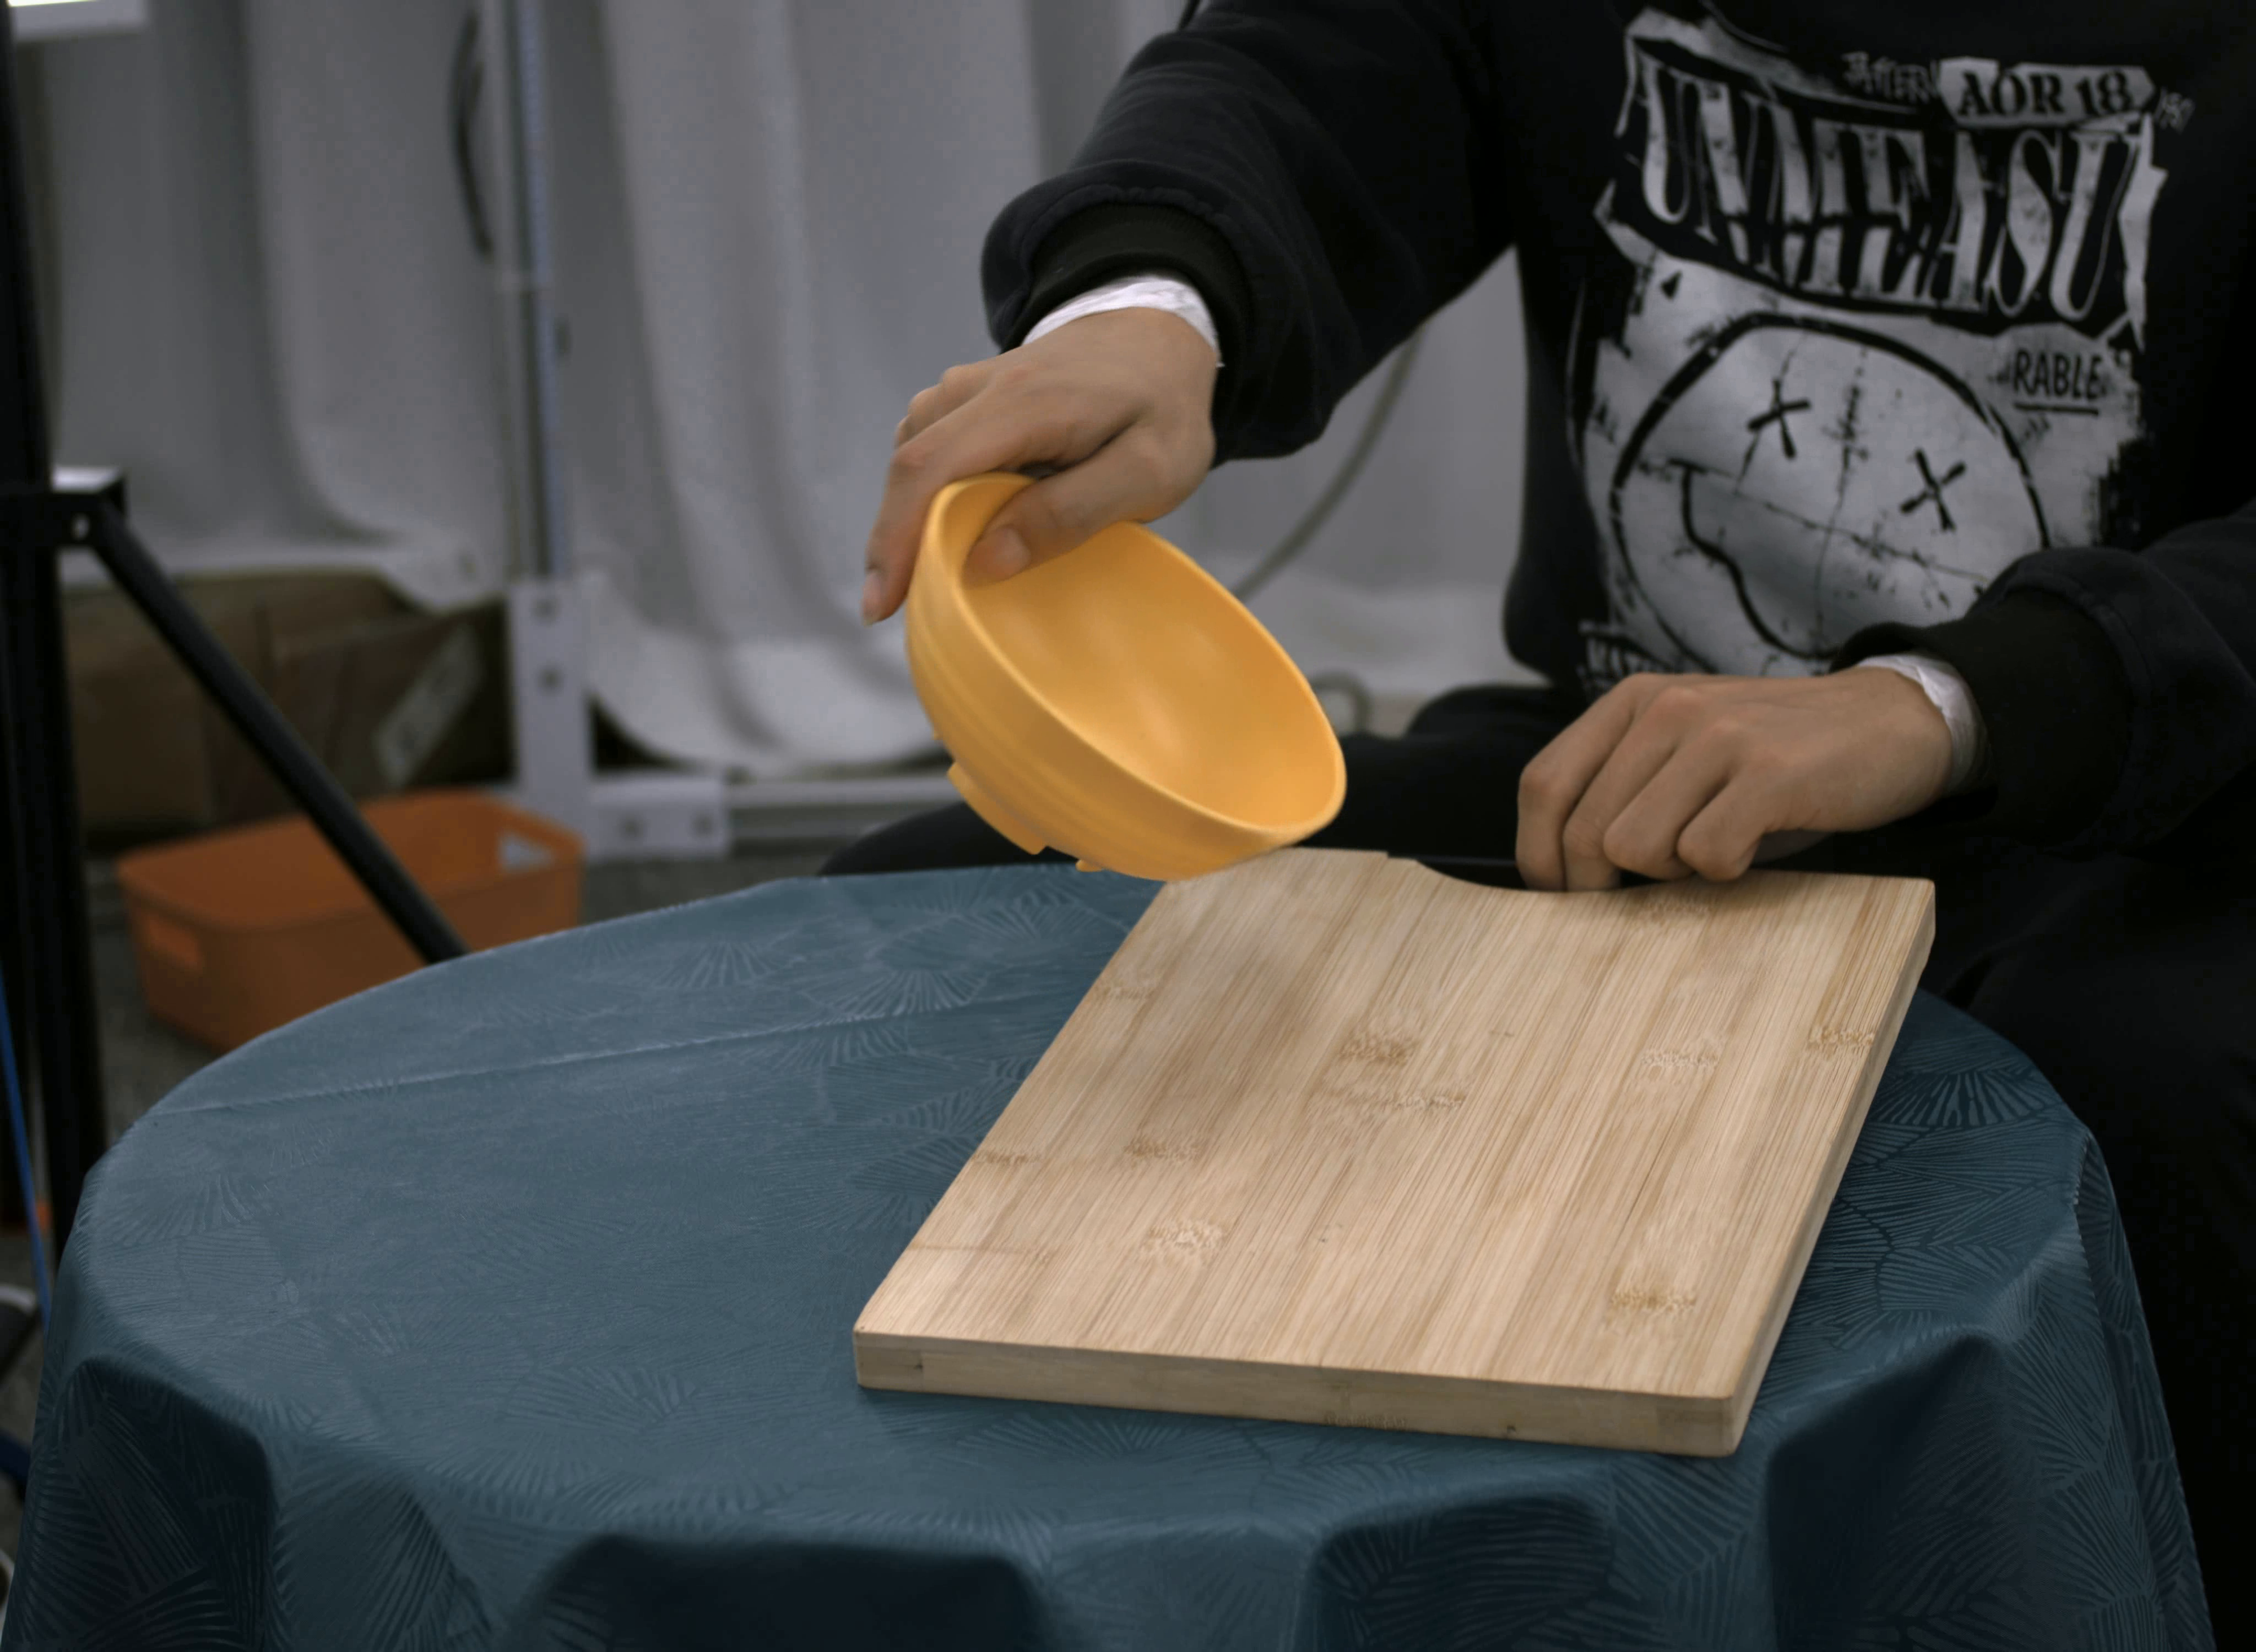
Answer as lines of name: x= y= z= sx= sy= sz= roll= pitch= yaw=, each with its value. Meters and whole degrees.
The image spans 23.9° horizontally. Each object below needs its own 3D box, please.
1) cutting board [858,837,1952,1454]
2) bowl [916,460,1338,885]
cutting board: x=0.091 y=0.082 z=1.530 sx=0.253 sy=0.023 sz=0.346 roll=2 pitch=23 yaw=17
bowl: x=-0.012 y=-0.032 z=1.518 sx=0.143 sy=0.060 sz=0.147 roll=34 pitch=26 yaw=-21
